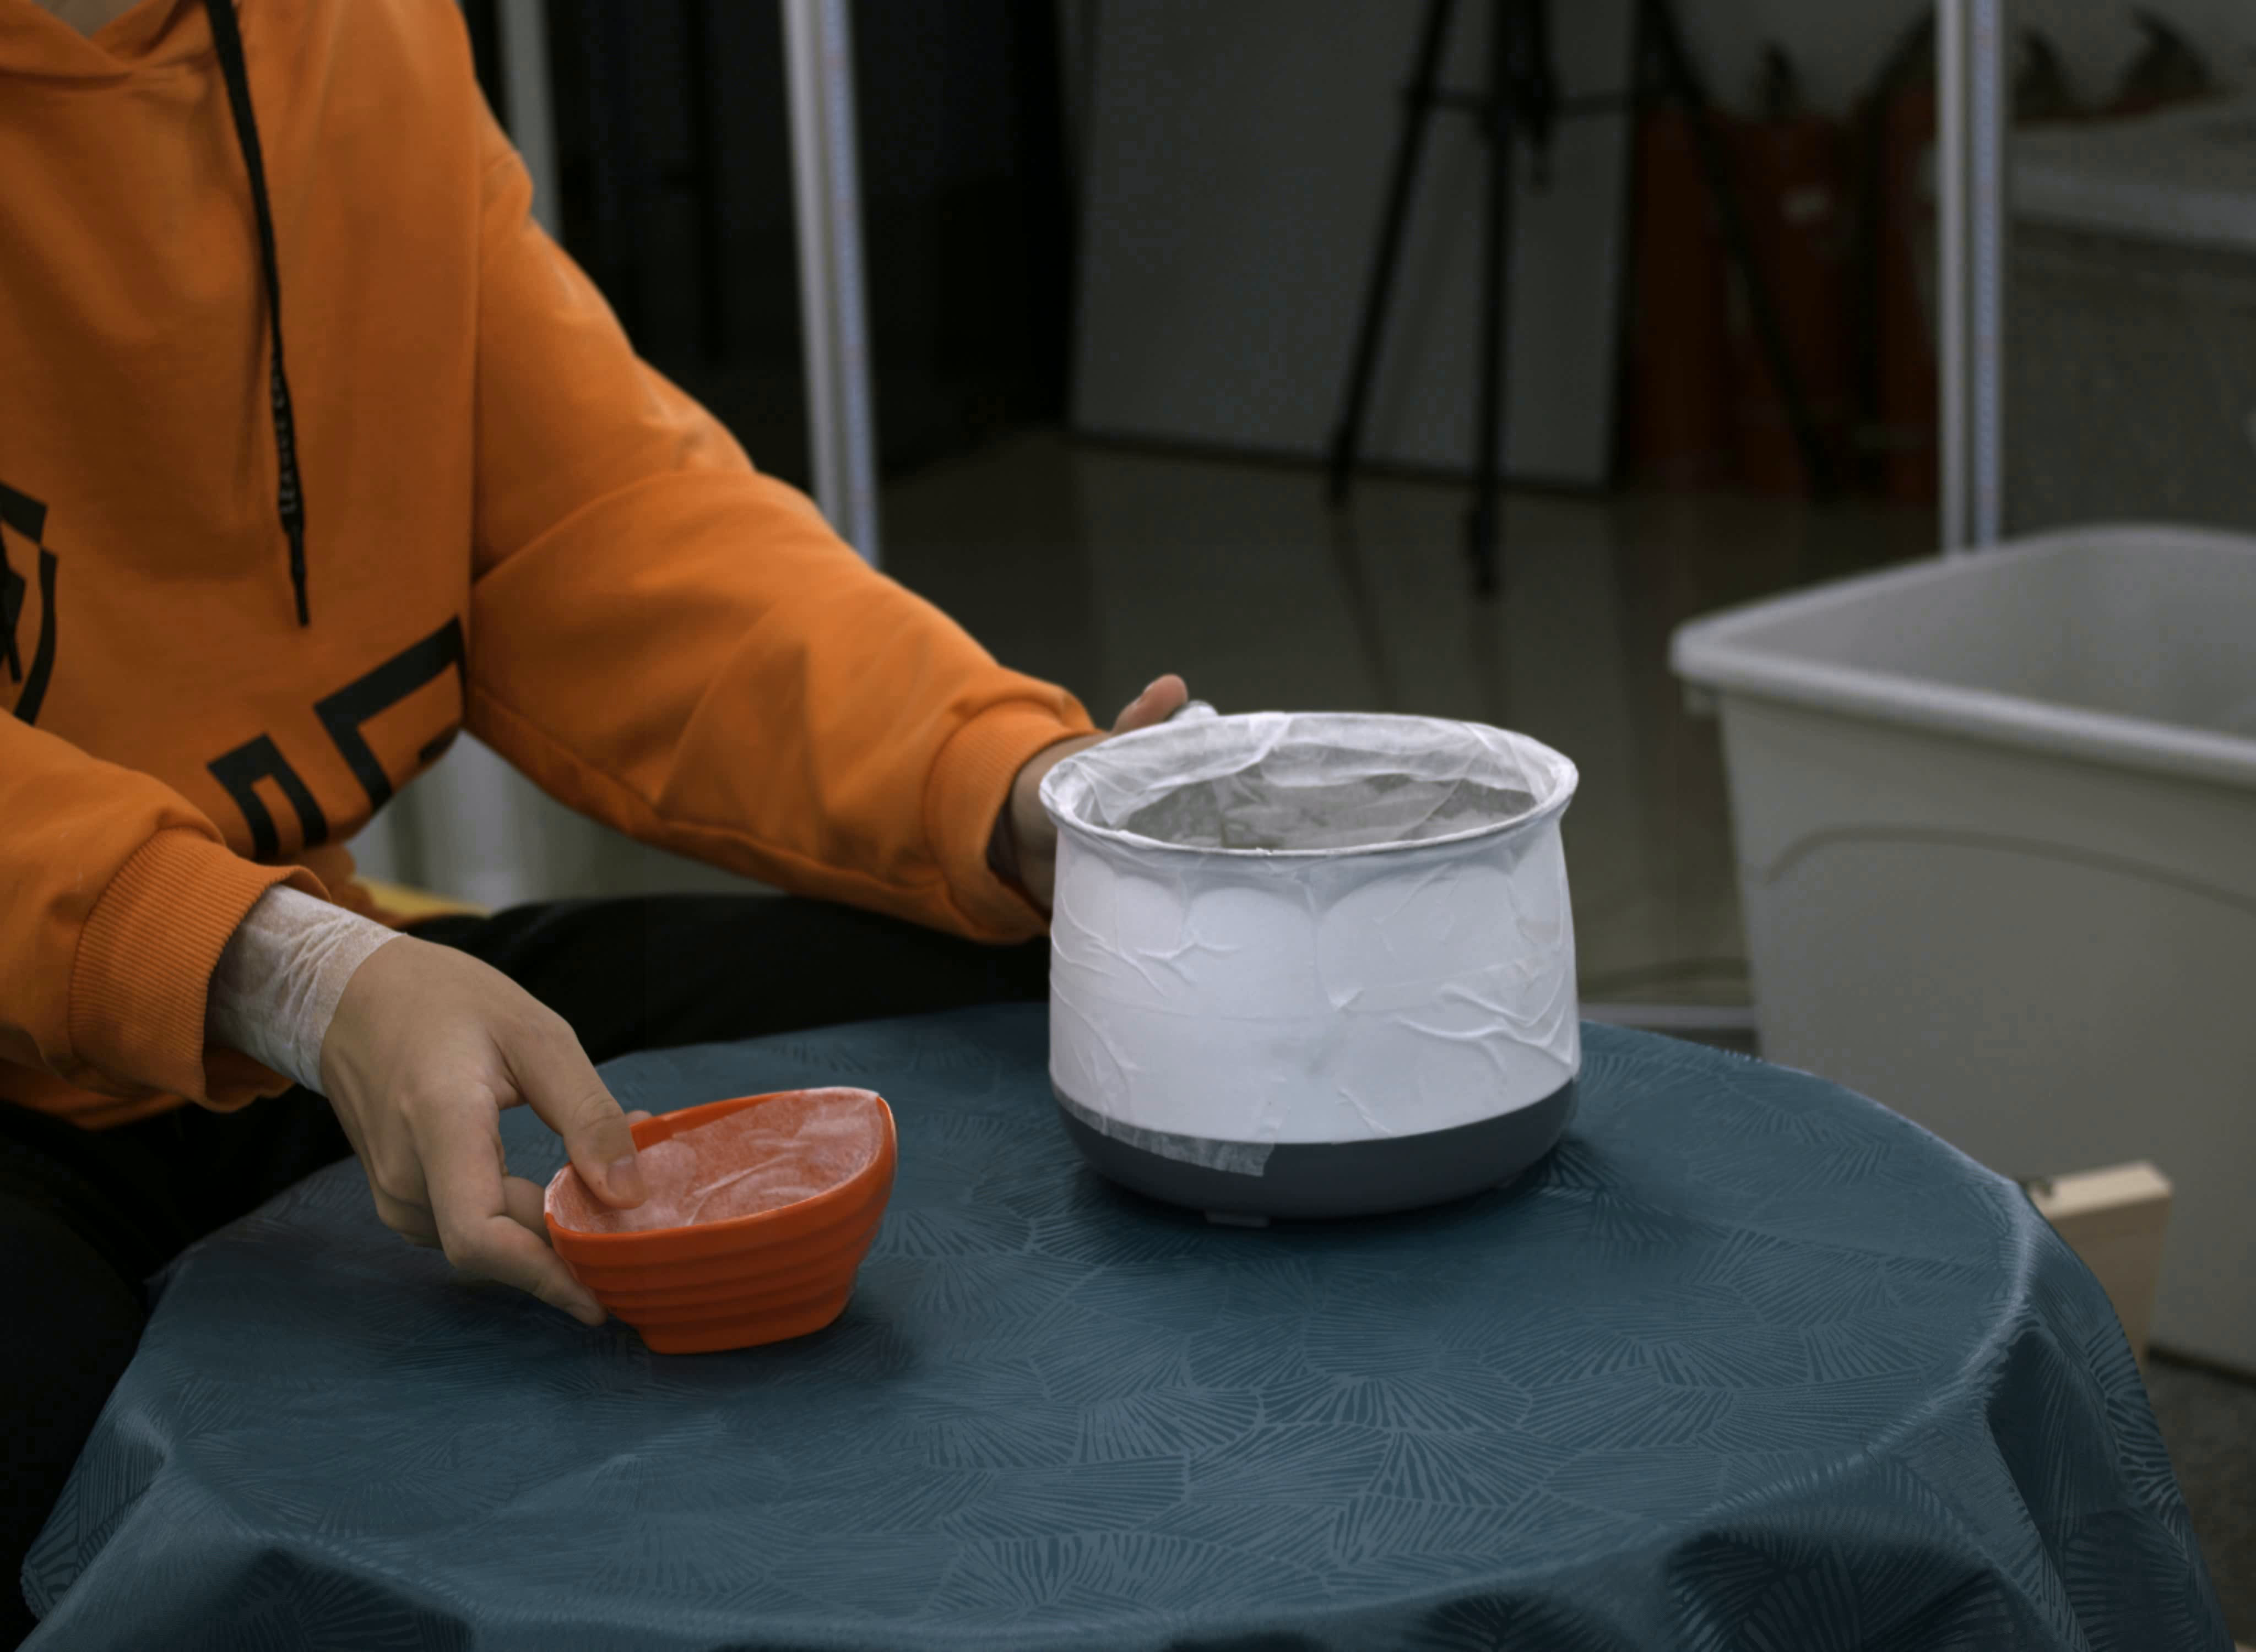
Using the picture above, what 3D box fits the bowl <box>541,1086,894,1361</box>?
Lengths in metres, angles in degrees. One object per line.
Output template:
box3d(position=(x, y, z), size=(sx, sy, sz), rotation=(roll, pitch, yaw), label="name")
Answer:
box3d(position=(-0.121, 0.126, 1.662), size=(0.117, 0.052, 0.119), rotation=(-12, 18, 3), label="bowl")

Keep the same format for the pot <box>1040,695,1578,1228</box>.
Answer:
box3d(position=(0.049, 0.039, 1.791), size=(0.175, 0.138, 0.236), rotation=(-7, 15, -21), label="pot")
